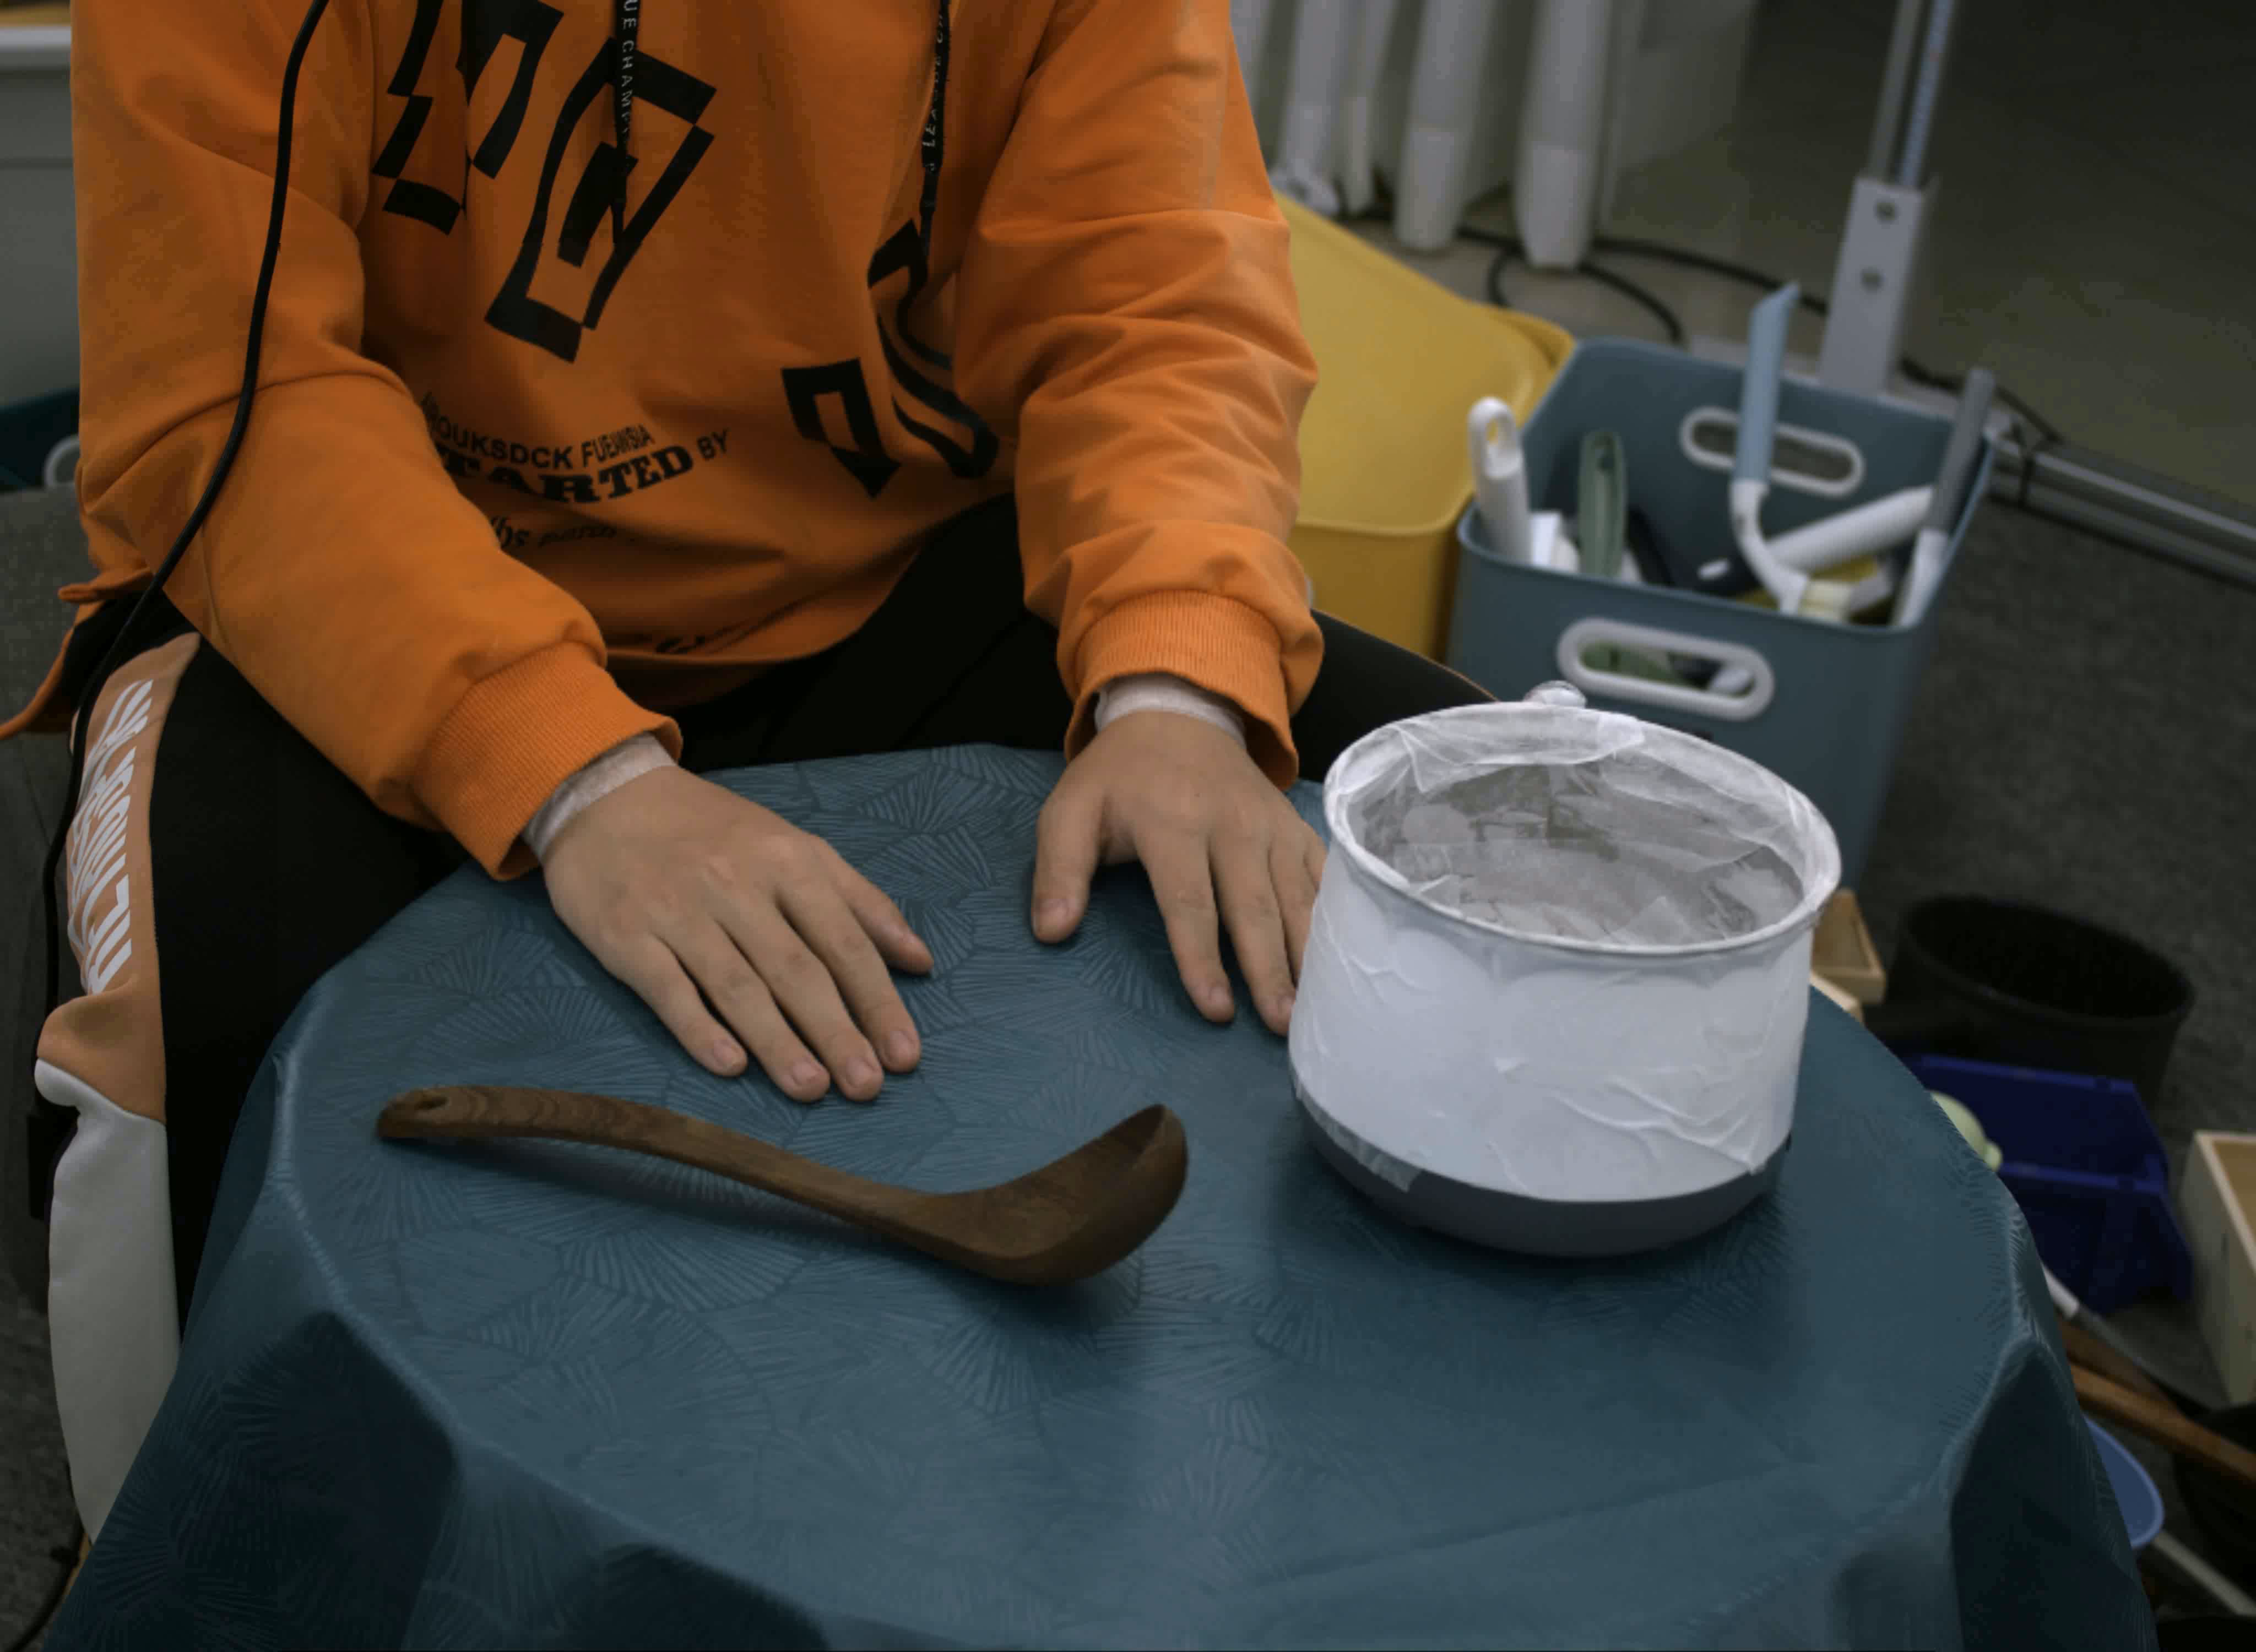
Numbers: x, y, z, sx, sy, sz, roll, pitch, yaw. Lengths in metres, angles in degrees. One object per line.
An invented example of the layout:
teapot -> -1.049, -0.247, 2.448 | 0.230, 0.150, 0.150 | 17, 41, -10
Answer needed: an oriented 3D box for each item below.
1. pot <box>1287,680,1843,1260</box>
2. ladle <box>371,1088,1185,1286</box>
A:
pot -> 0.145, 0.042, 1.845 | 0.178, 0.136, 0.235 | 5, 27, -4
ladle -> -0.116, 0.097, 1.751 | 0.274, 0.071, 0.076 | 13, 23, 10
